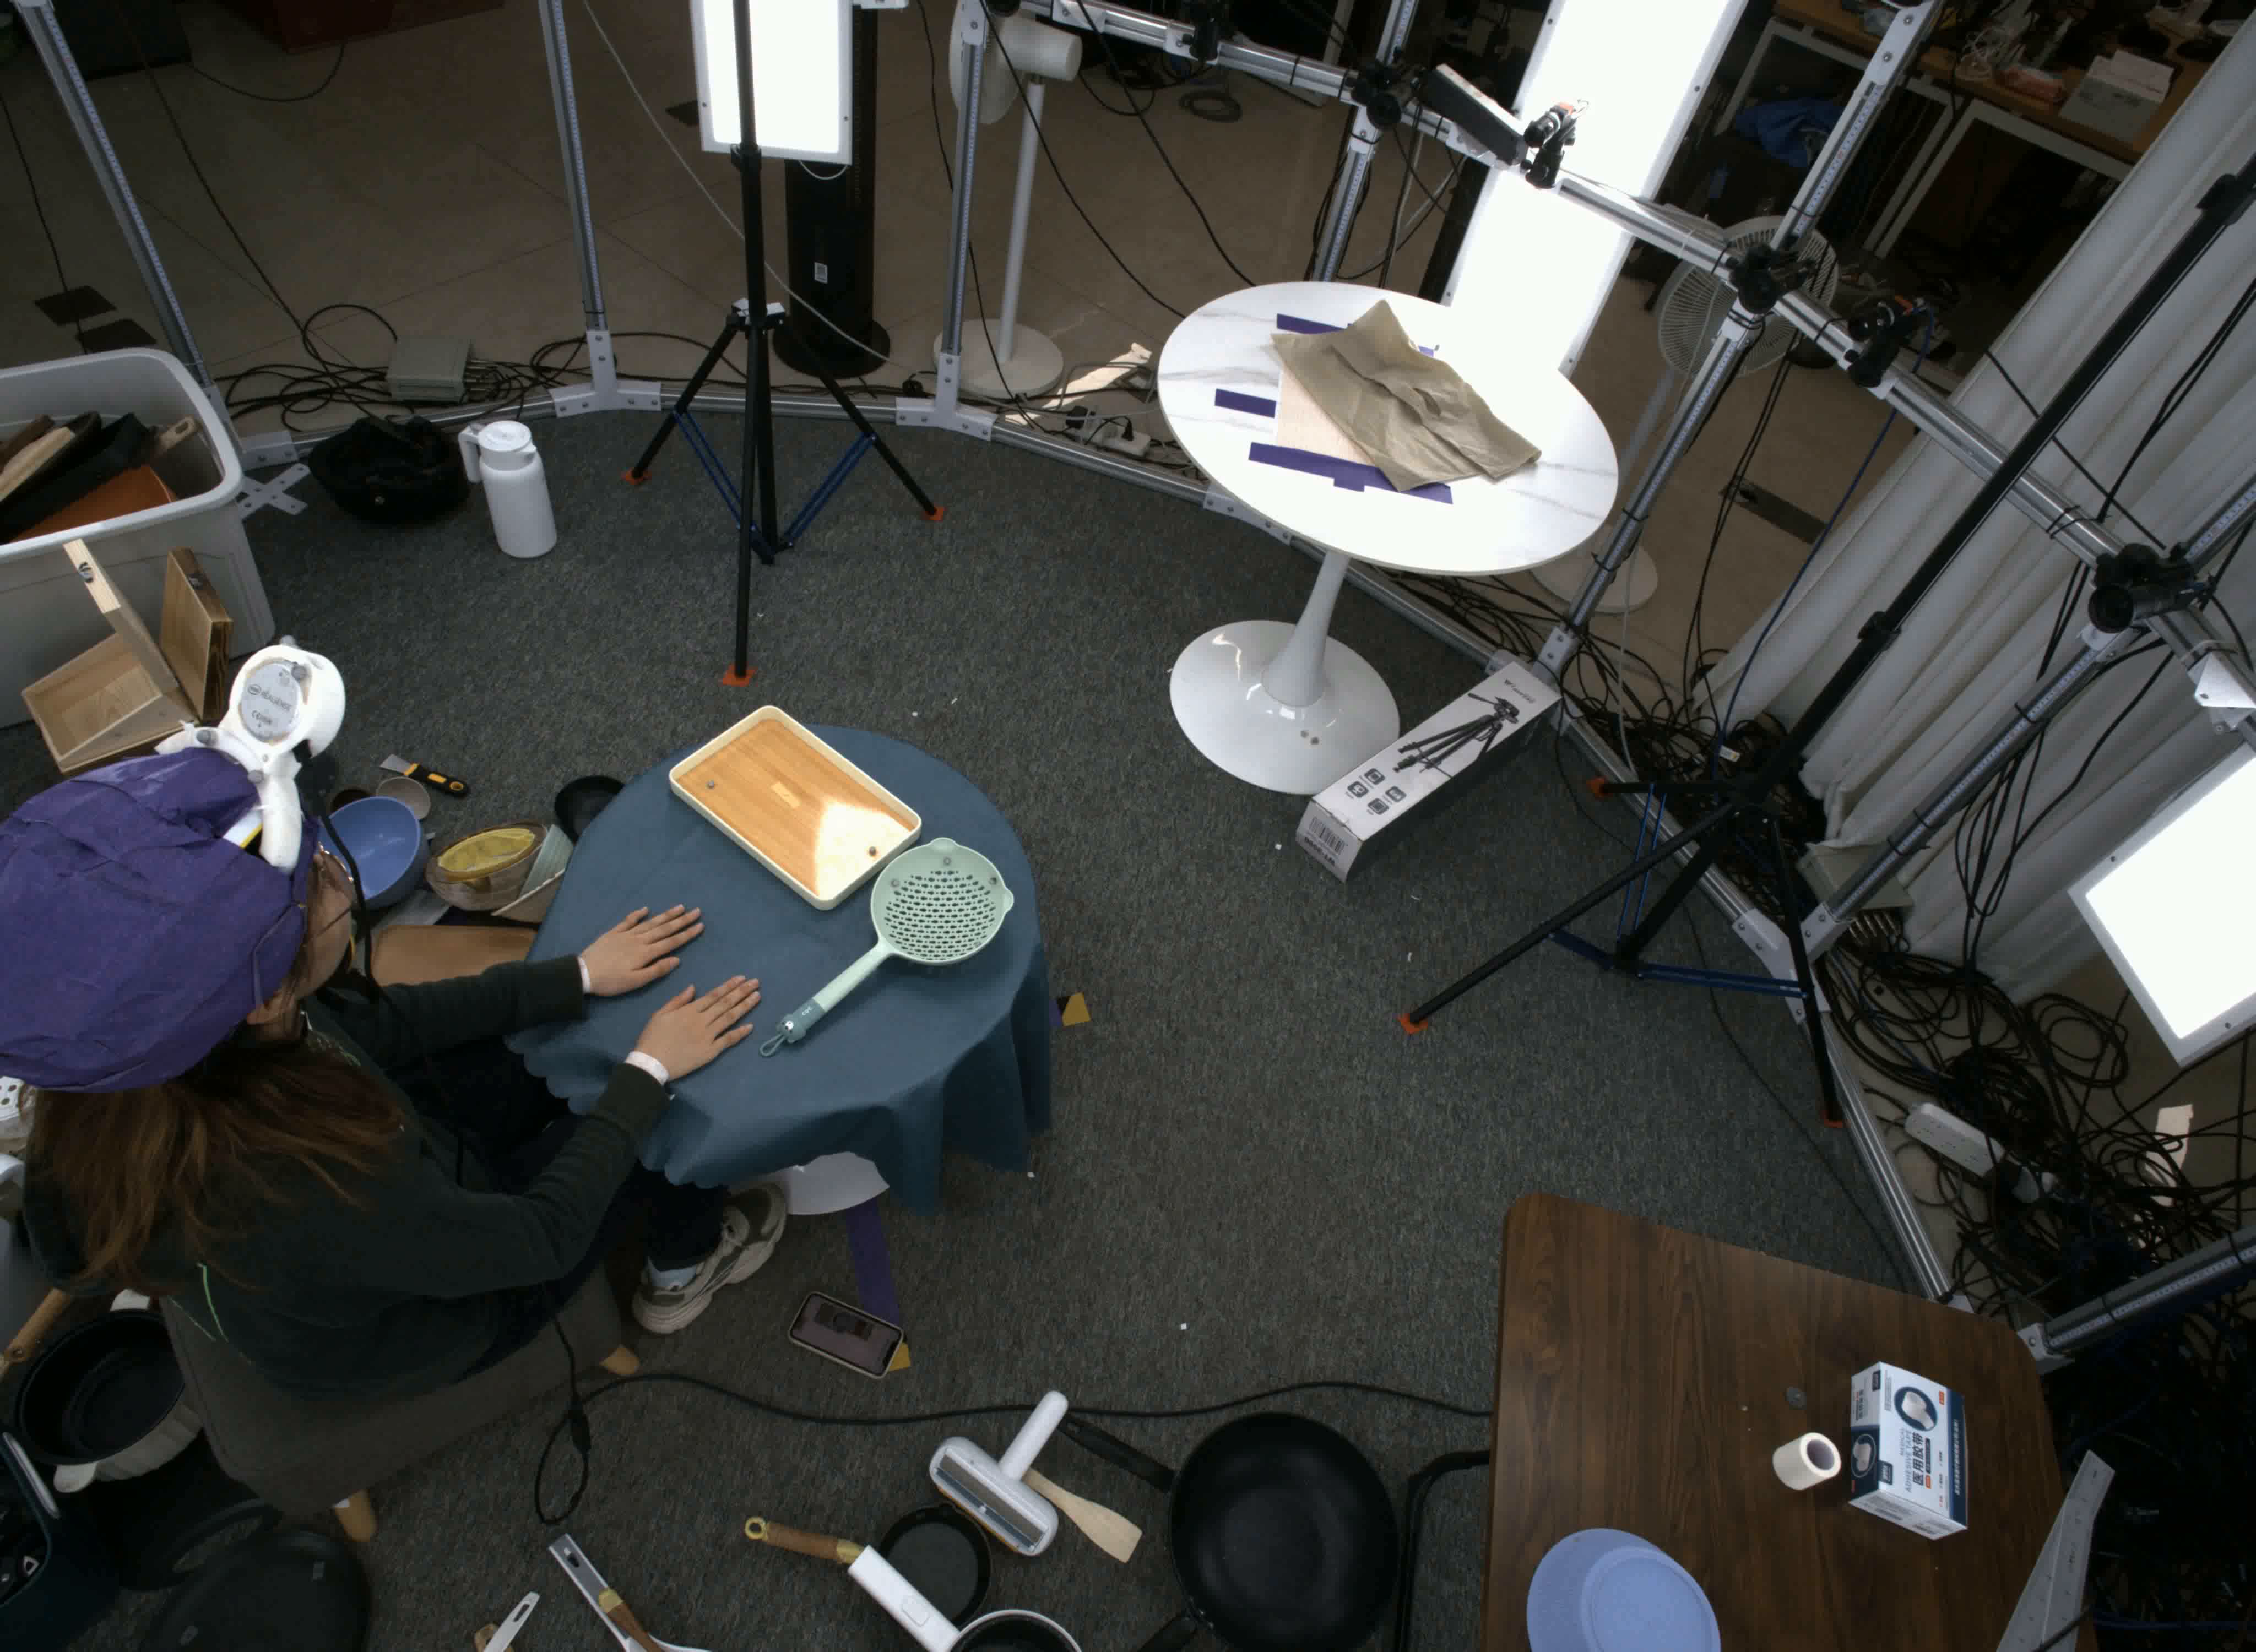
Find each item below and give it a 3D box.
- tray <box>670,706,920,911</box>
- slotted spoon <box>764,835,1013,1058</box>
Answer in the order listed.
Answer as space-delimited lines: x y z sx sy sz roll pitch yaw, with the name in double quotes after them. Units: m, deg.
-0.444 -0.030 1.729 0.294 0.028 0.191 36 54 14 "tray"
-0.304 0.155 1.603 0.165 0.077 0.359 40 55 17 "slotted spoon"
